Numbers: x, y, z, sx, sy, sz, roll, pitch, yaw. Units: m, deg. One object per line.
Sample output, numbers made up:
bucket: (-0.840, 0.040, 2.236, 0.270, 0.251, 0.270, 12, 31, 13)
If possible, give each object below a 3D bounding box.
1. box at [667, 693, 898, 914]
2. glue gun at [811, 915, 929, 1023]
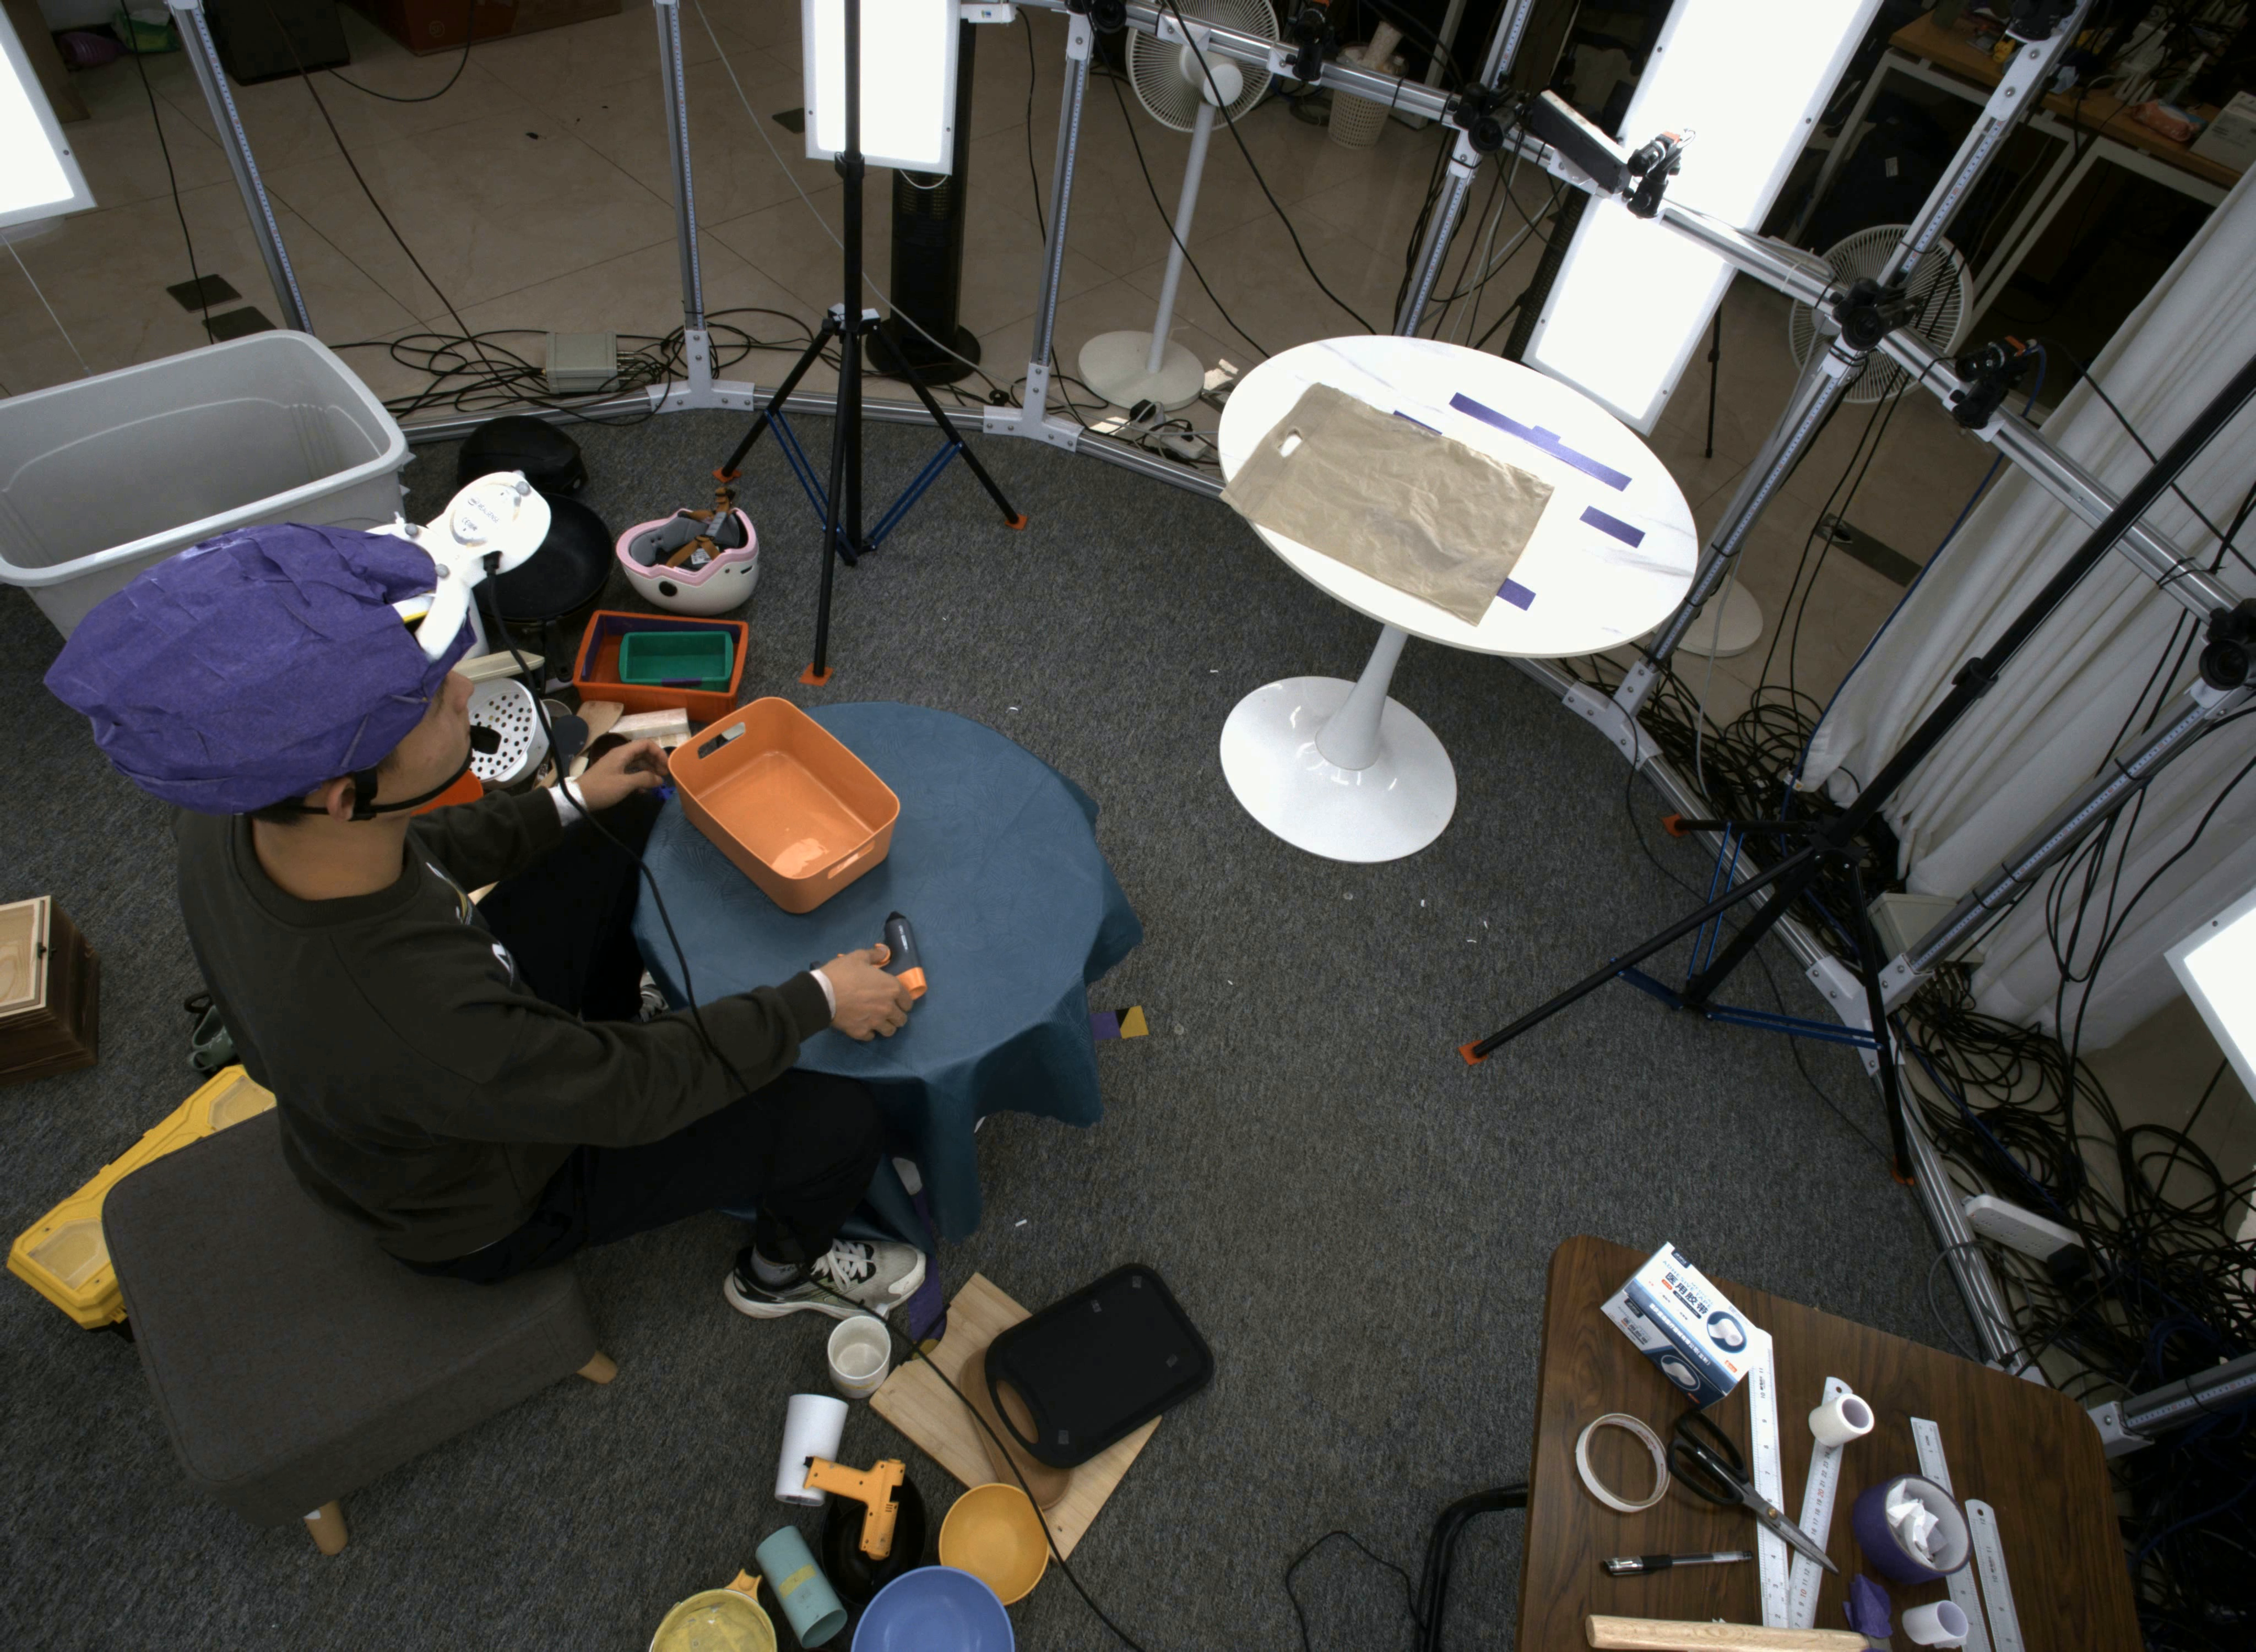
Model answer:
box: (-0.443, -0.025, 1.667, 0.267, 0.104, 0.199, 39, 55, 15)
glue gun: (-0.313, 0.174, 1.599, 0.140, 0.042, 0.115, -24, 61, -30)
